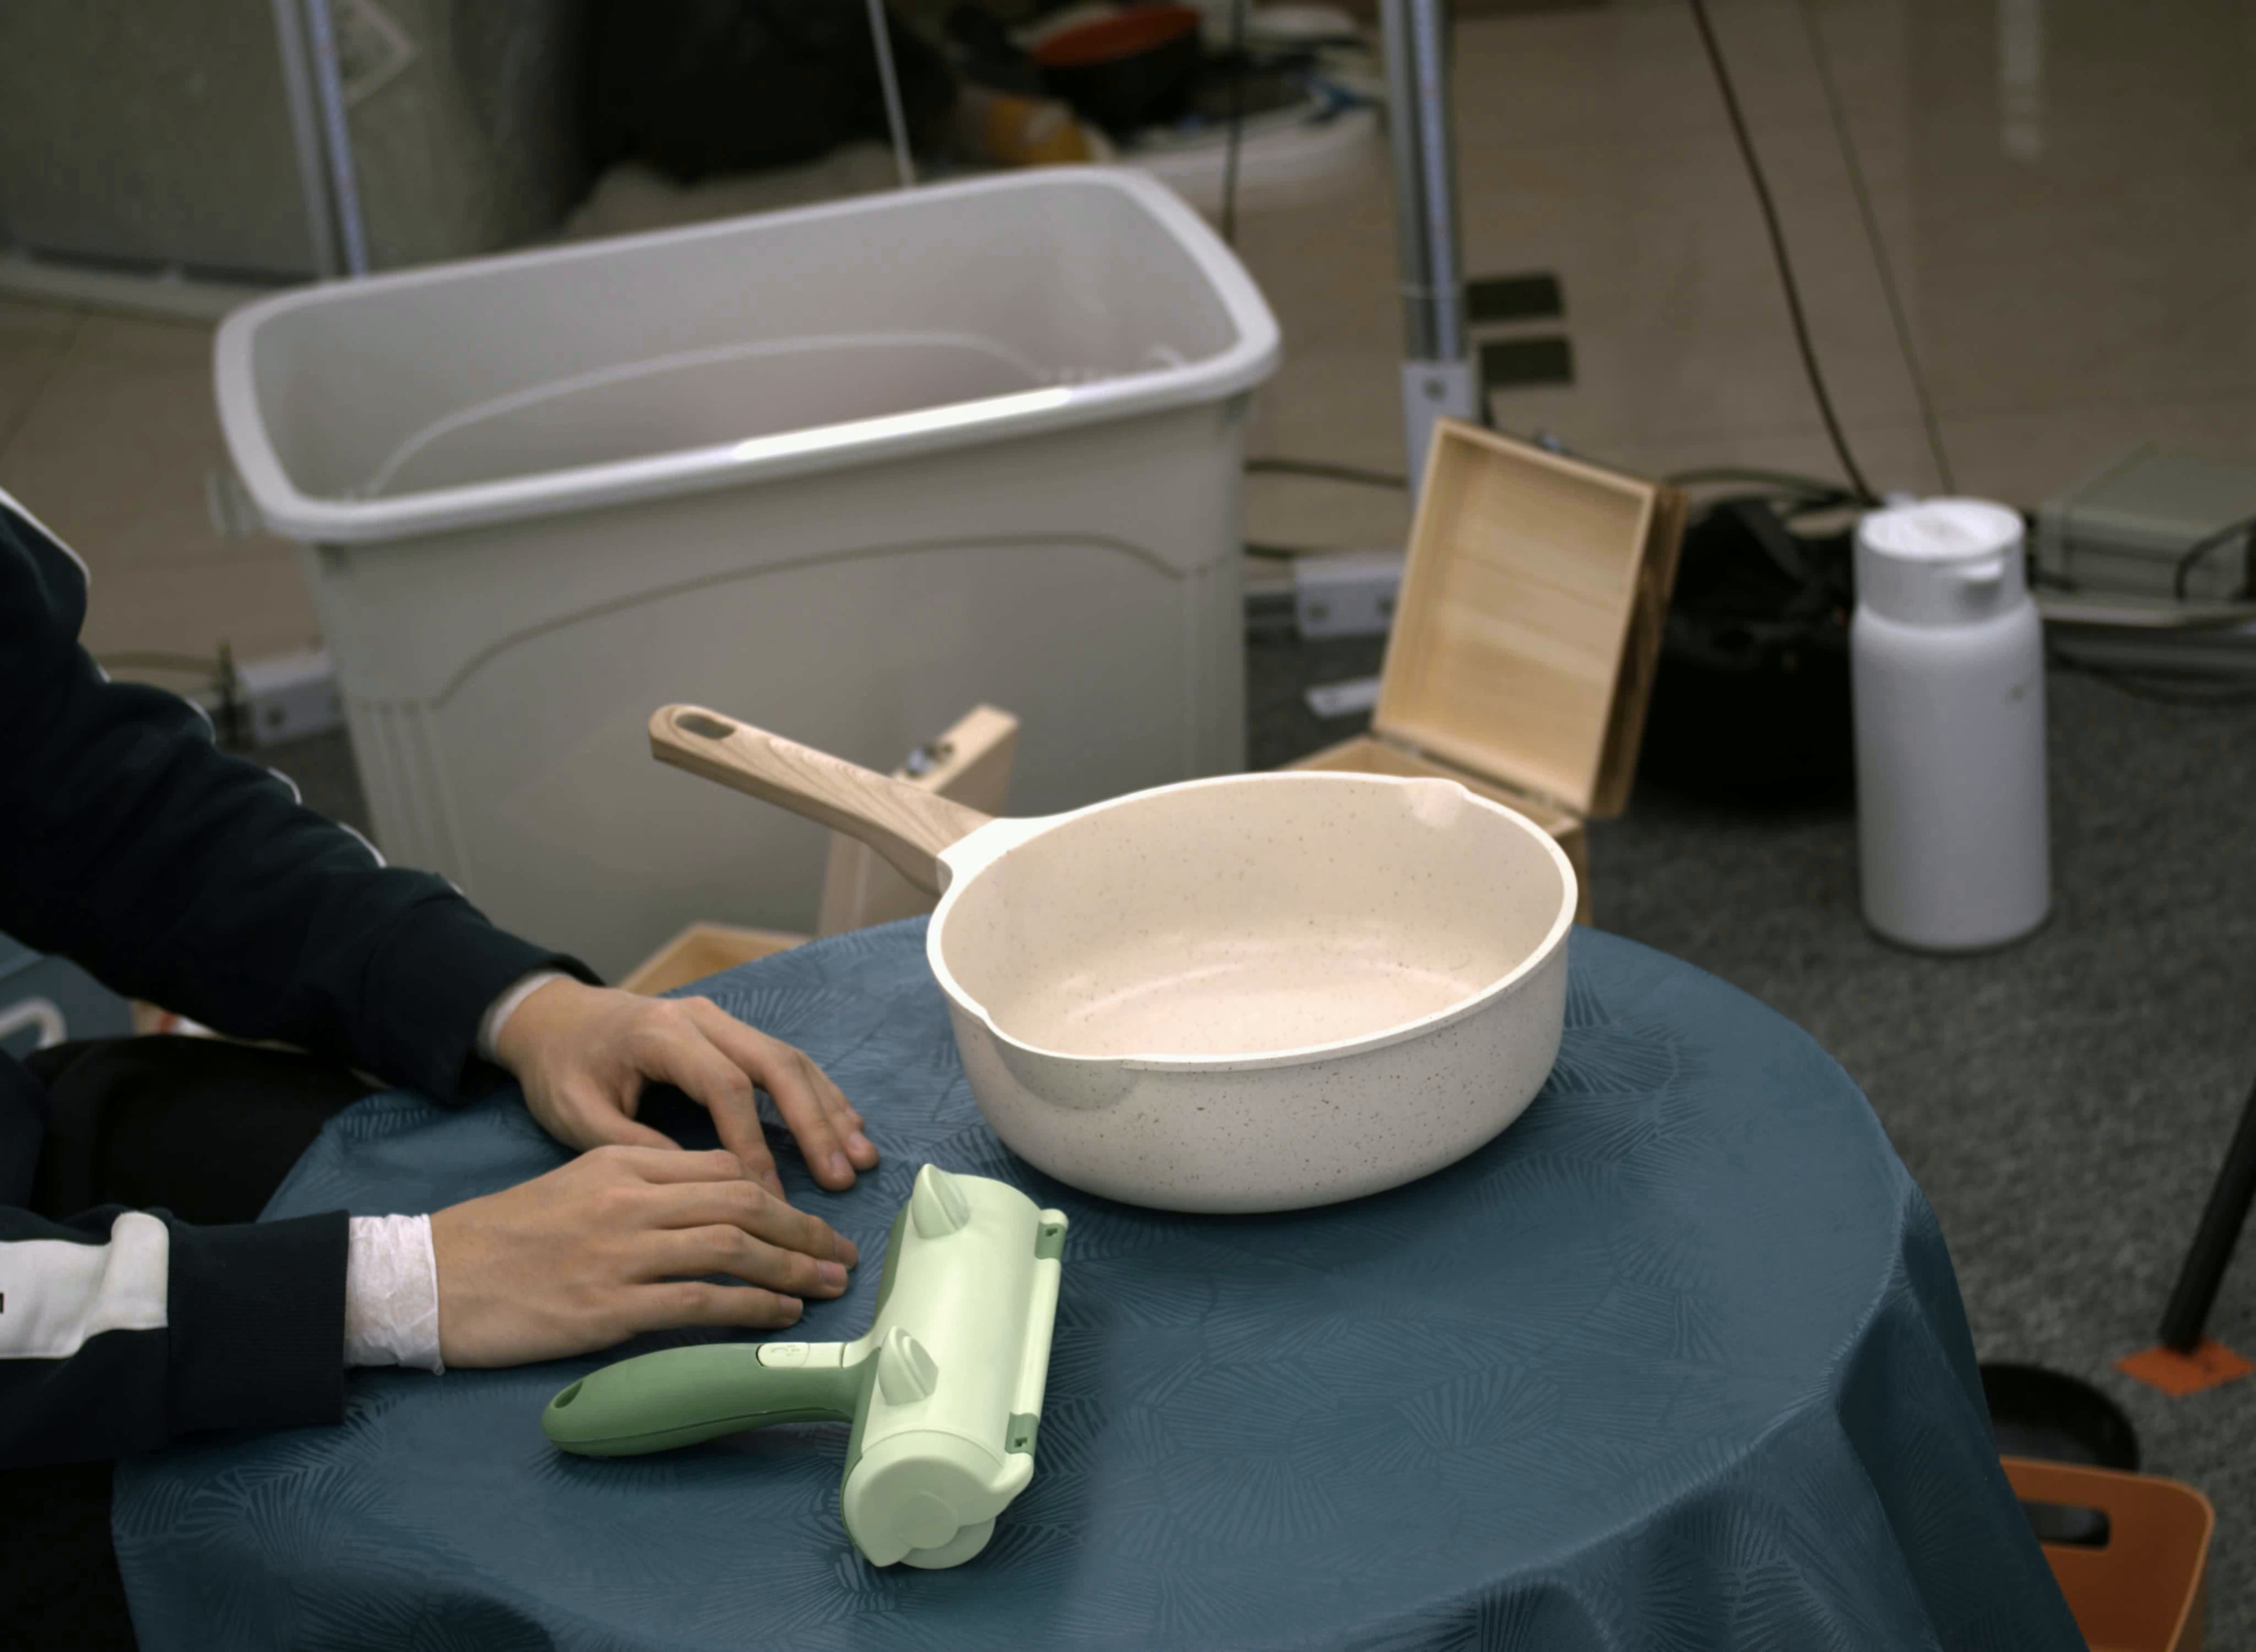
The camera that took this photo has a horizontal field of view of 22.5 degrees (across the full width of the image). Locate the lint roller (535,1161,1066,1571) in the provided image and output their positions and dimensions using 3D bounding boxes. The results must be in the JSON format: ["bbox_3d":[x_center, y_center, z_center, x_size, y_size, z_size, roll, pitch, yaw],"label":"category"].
[{"bbox_3d":[-0.119,0.182,1.991,0.183,0.083,0.195,1,26,3],"label":"lint roller"}]

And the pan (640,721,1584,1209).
[{"bbox_3d":[-0.019,0.042,2.239,0.432,0.103,0.260,13,33,36],"label":"pan"}]
